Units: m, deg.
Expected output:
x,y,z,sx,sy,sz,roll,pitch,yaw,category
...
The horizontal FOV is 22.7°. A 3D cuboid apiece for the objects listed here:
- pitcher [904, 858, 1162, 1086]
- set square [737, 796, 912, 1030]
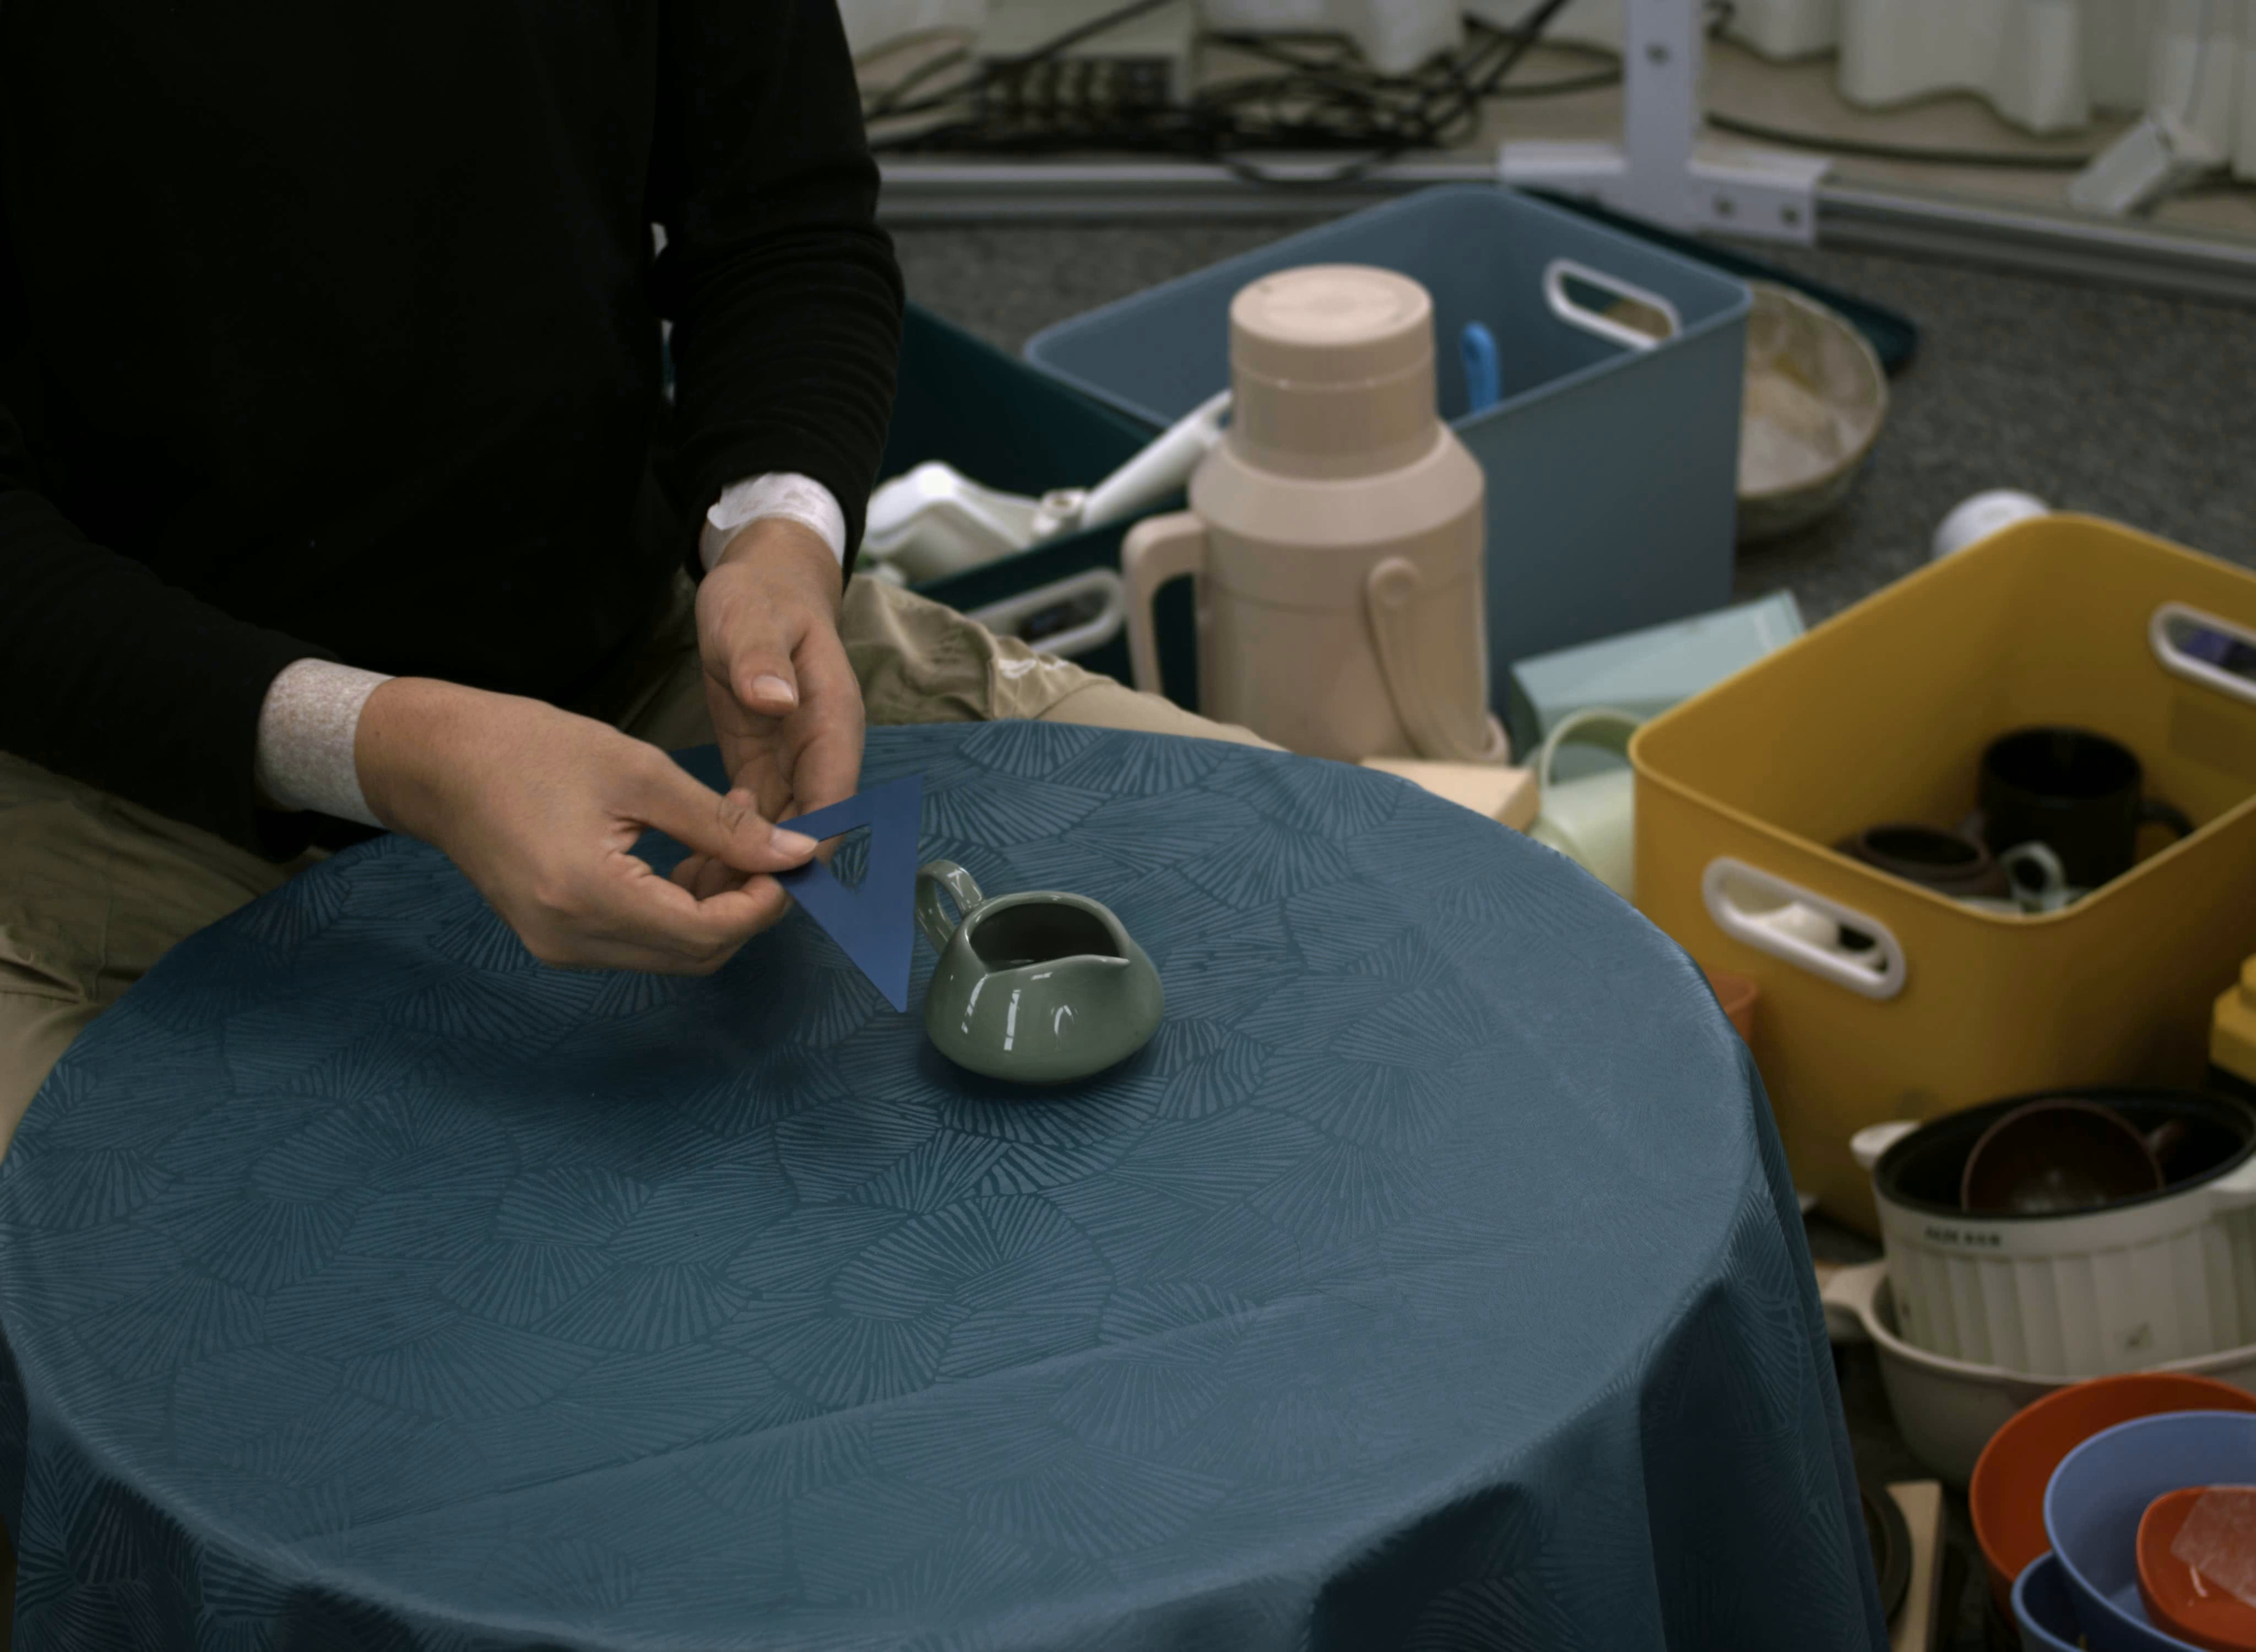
x,y,z,sx,sy,sz,roll,pitch,yaw,category
-0.035,0.051,1.941,0.085,0.055,0.112,-23,33,-39,pitcher
-0.107,0.027,1.894,0.061,0.006,0.134,1,35,5,set square
